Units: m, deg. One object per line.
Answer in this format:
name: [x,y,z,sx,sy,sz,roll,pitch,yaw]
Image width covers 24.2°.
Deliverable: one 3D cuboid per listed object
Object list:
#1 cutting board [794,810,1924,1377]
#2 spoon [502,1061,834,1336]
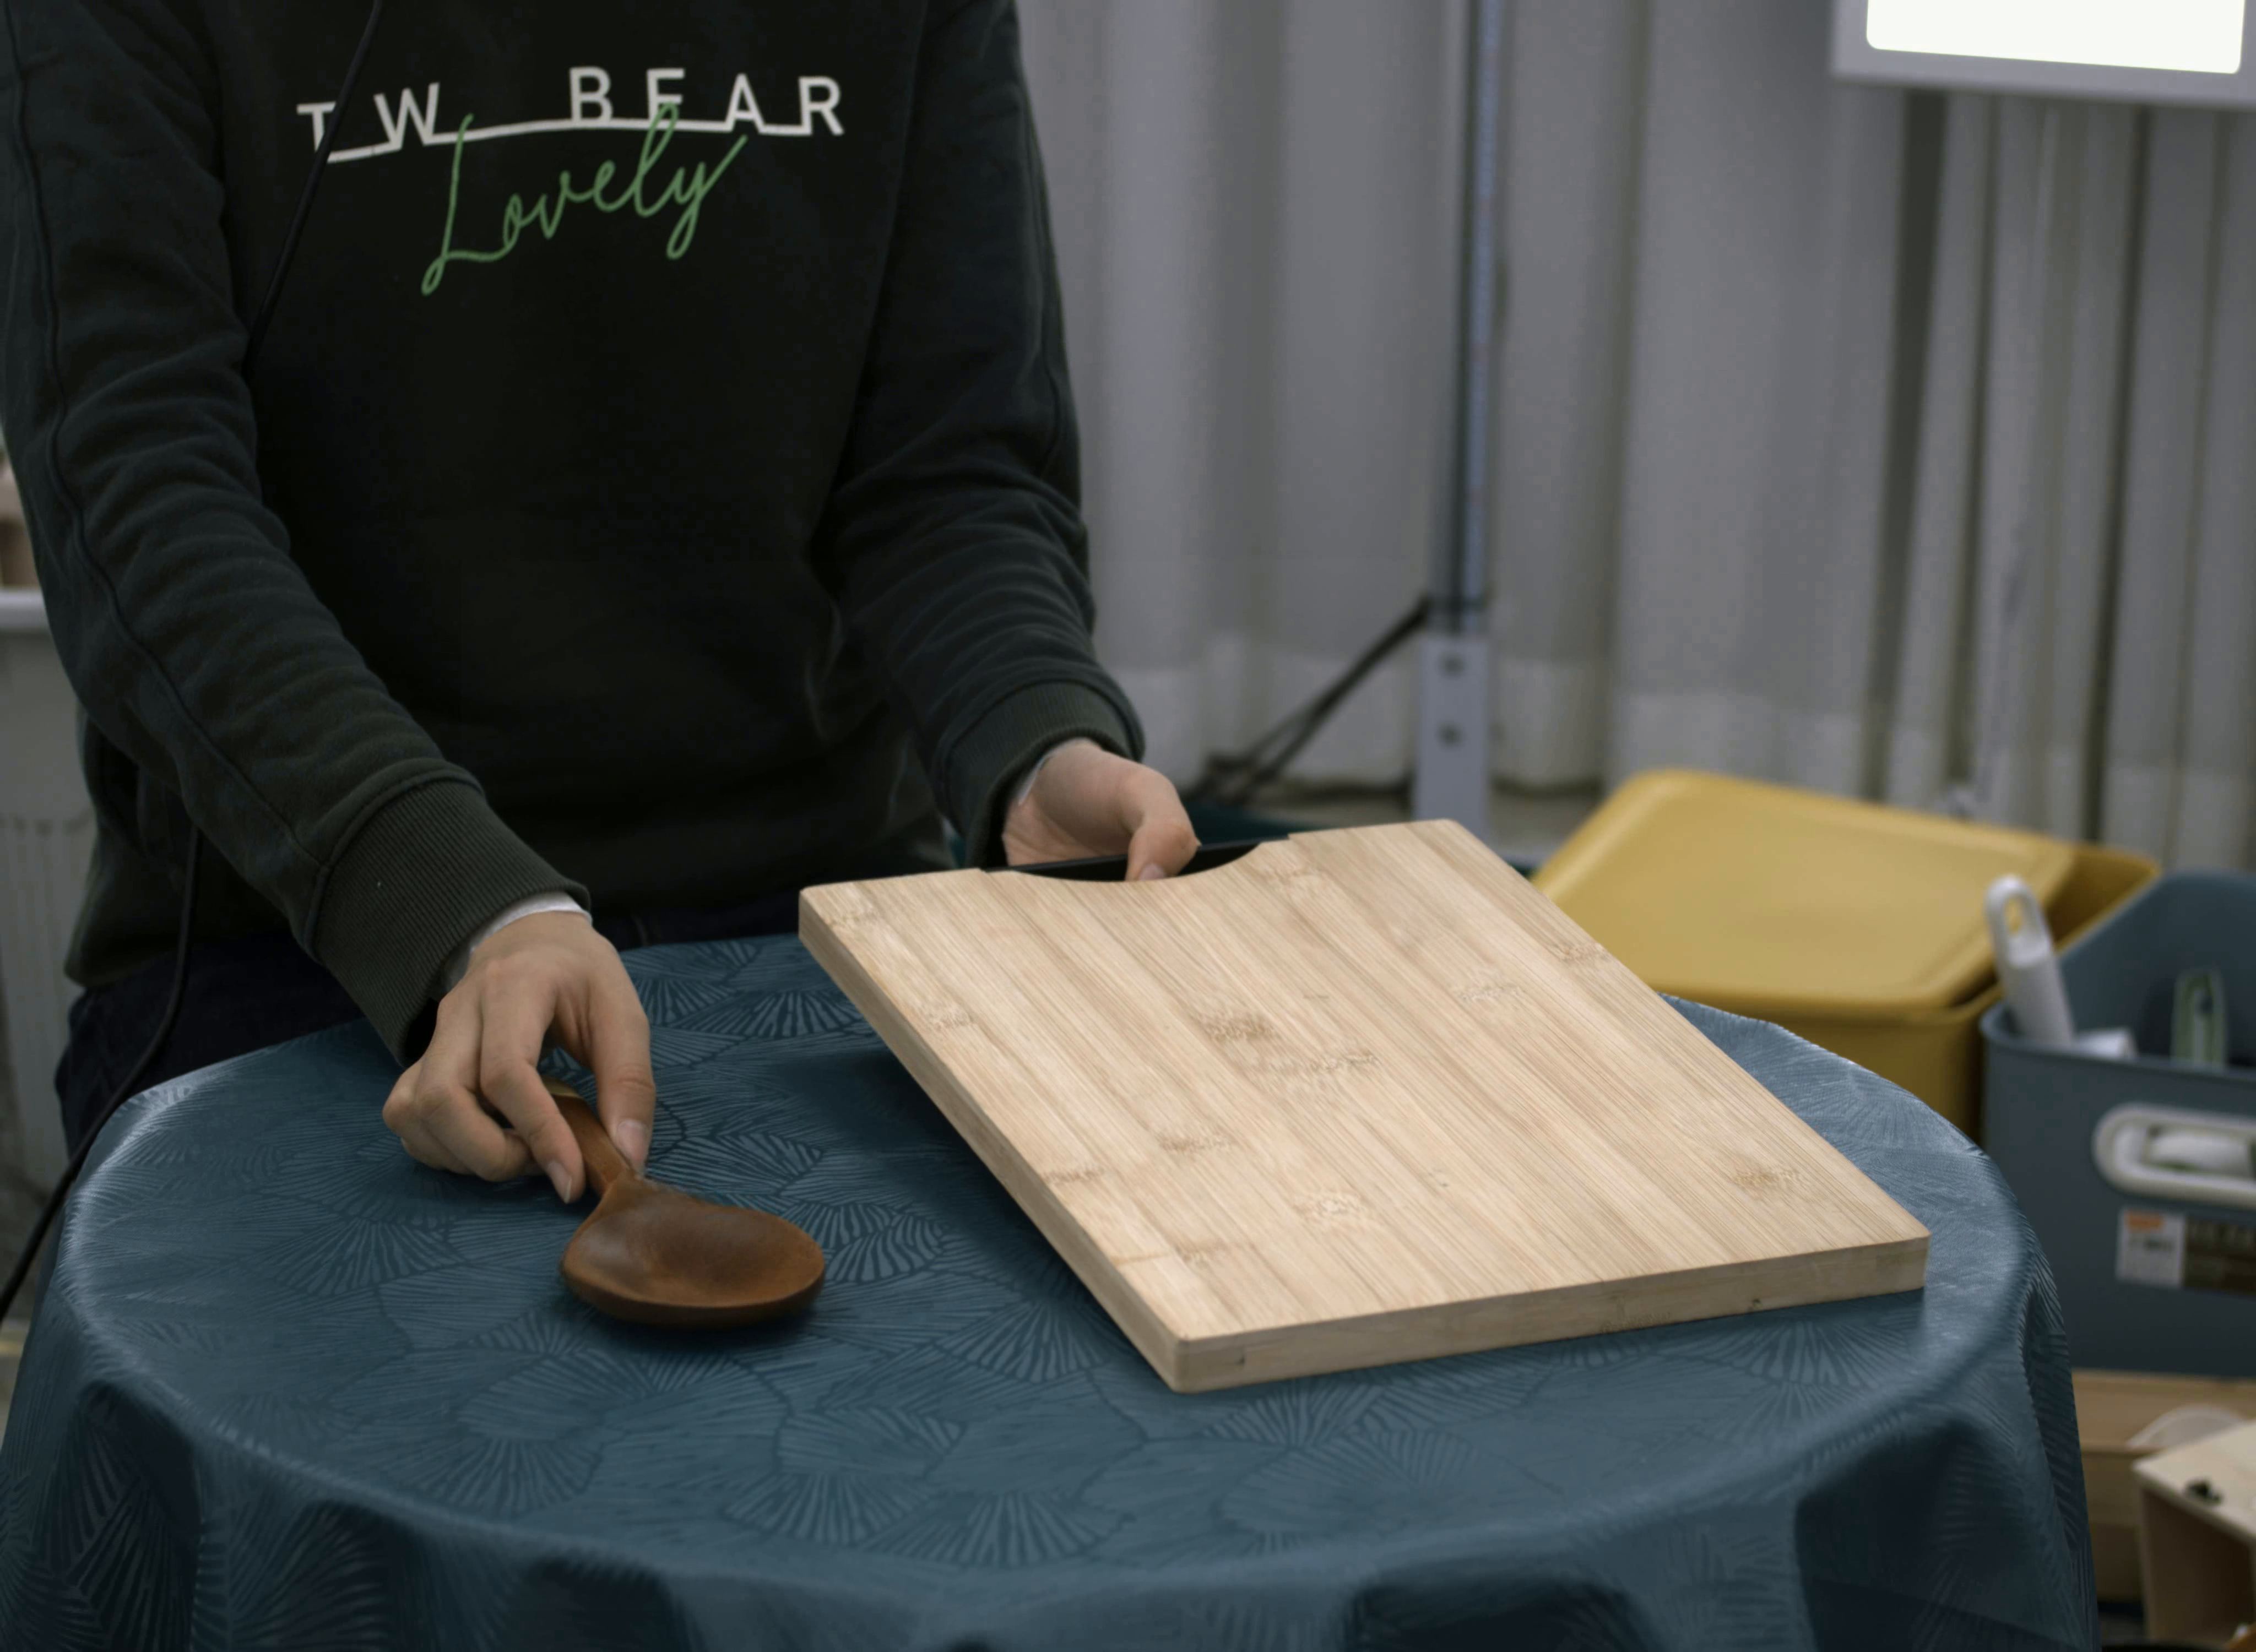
cutting board: [0.061,0.076,1.652,0.251,0.024,0.344,-5,24,-22]
spoon: [-0.148,0.112,1.581,0.075,0.017,0.213,-8,20,-21]
